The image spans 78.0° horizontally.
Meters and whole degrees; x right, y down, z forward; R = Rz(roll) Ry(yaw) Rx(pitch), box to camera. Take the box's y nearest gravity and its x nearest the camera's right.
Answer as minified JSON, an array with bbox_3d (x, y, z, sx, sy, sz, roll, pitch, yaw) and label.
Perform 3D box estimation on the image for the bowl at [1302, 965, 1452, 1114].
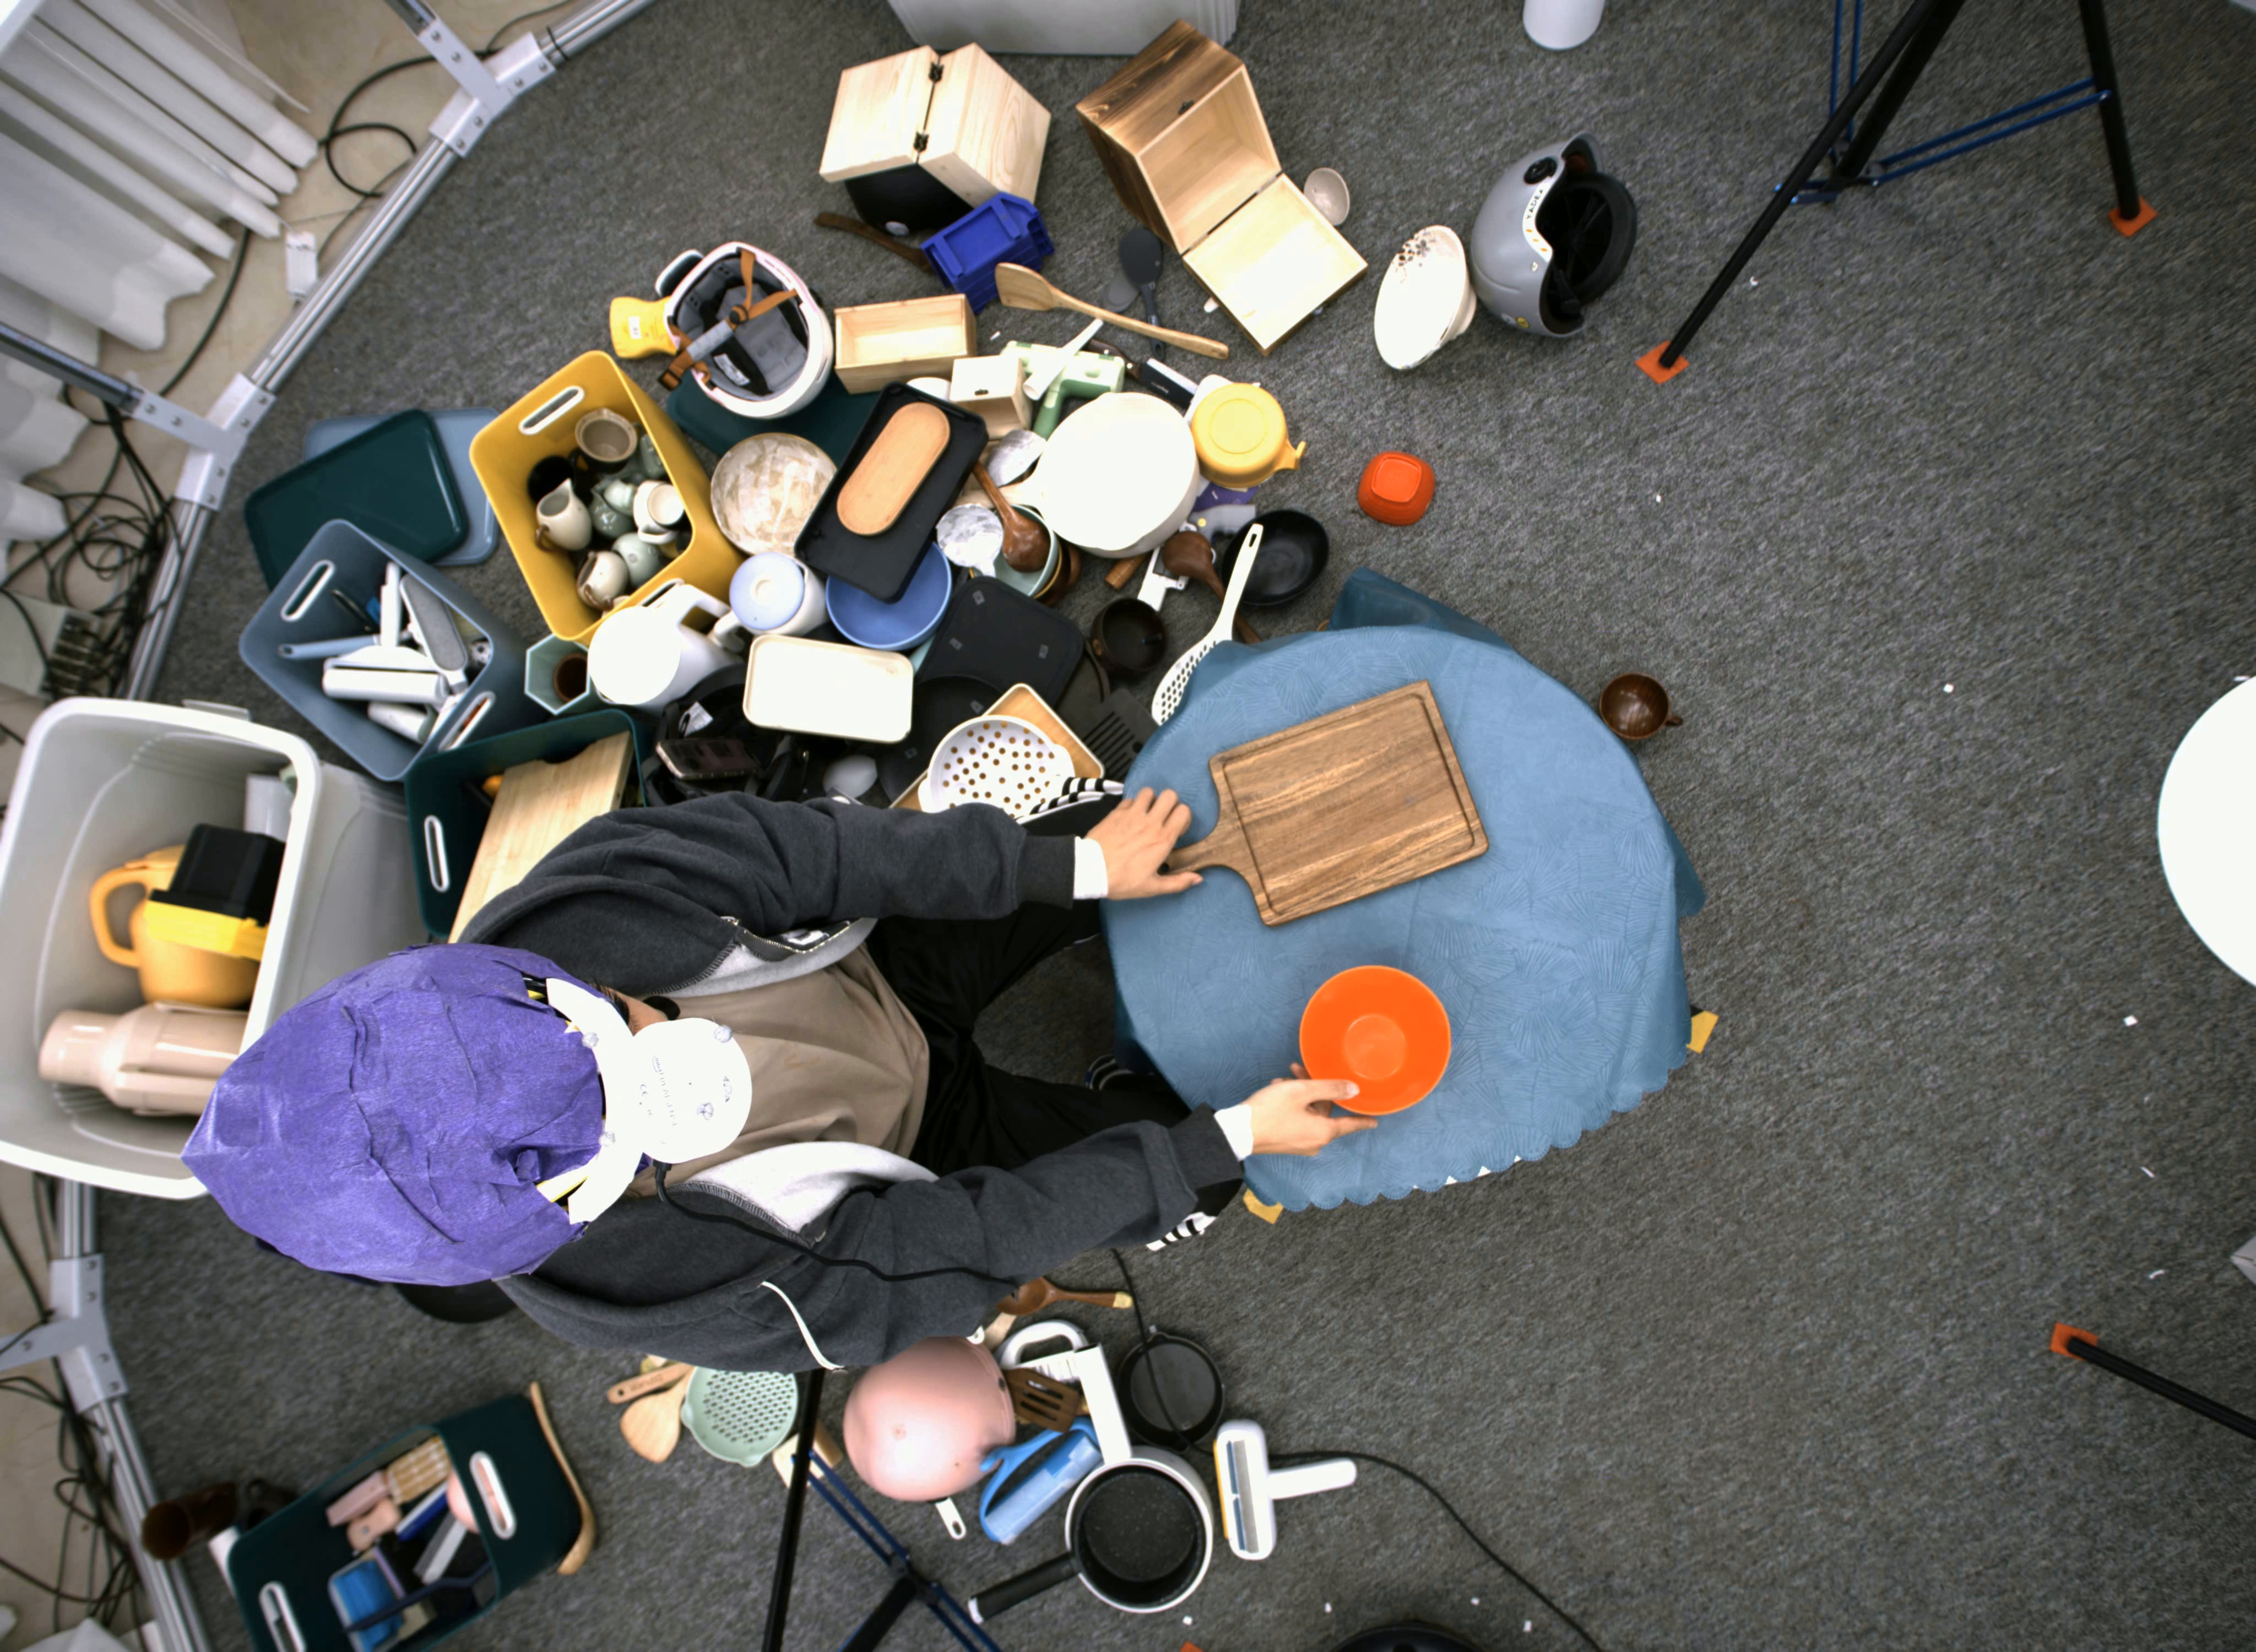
[{"bbox_3d":[0.251,0.214,1.403,0.148,0.105,0.147,-1,85,9],"label":"bowl"}]

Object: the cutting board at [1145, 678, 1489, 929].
[{"bbox_3d":[0.184,-0.008,1.469,0.354,0.023,0.200,-20,83,9],"label":"cutting board"}]
